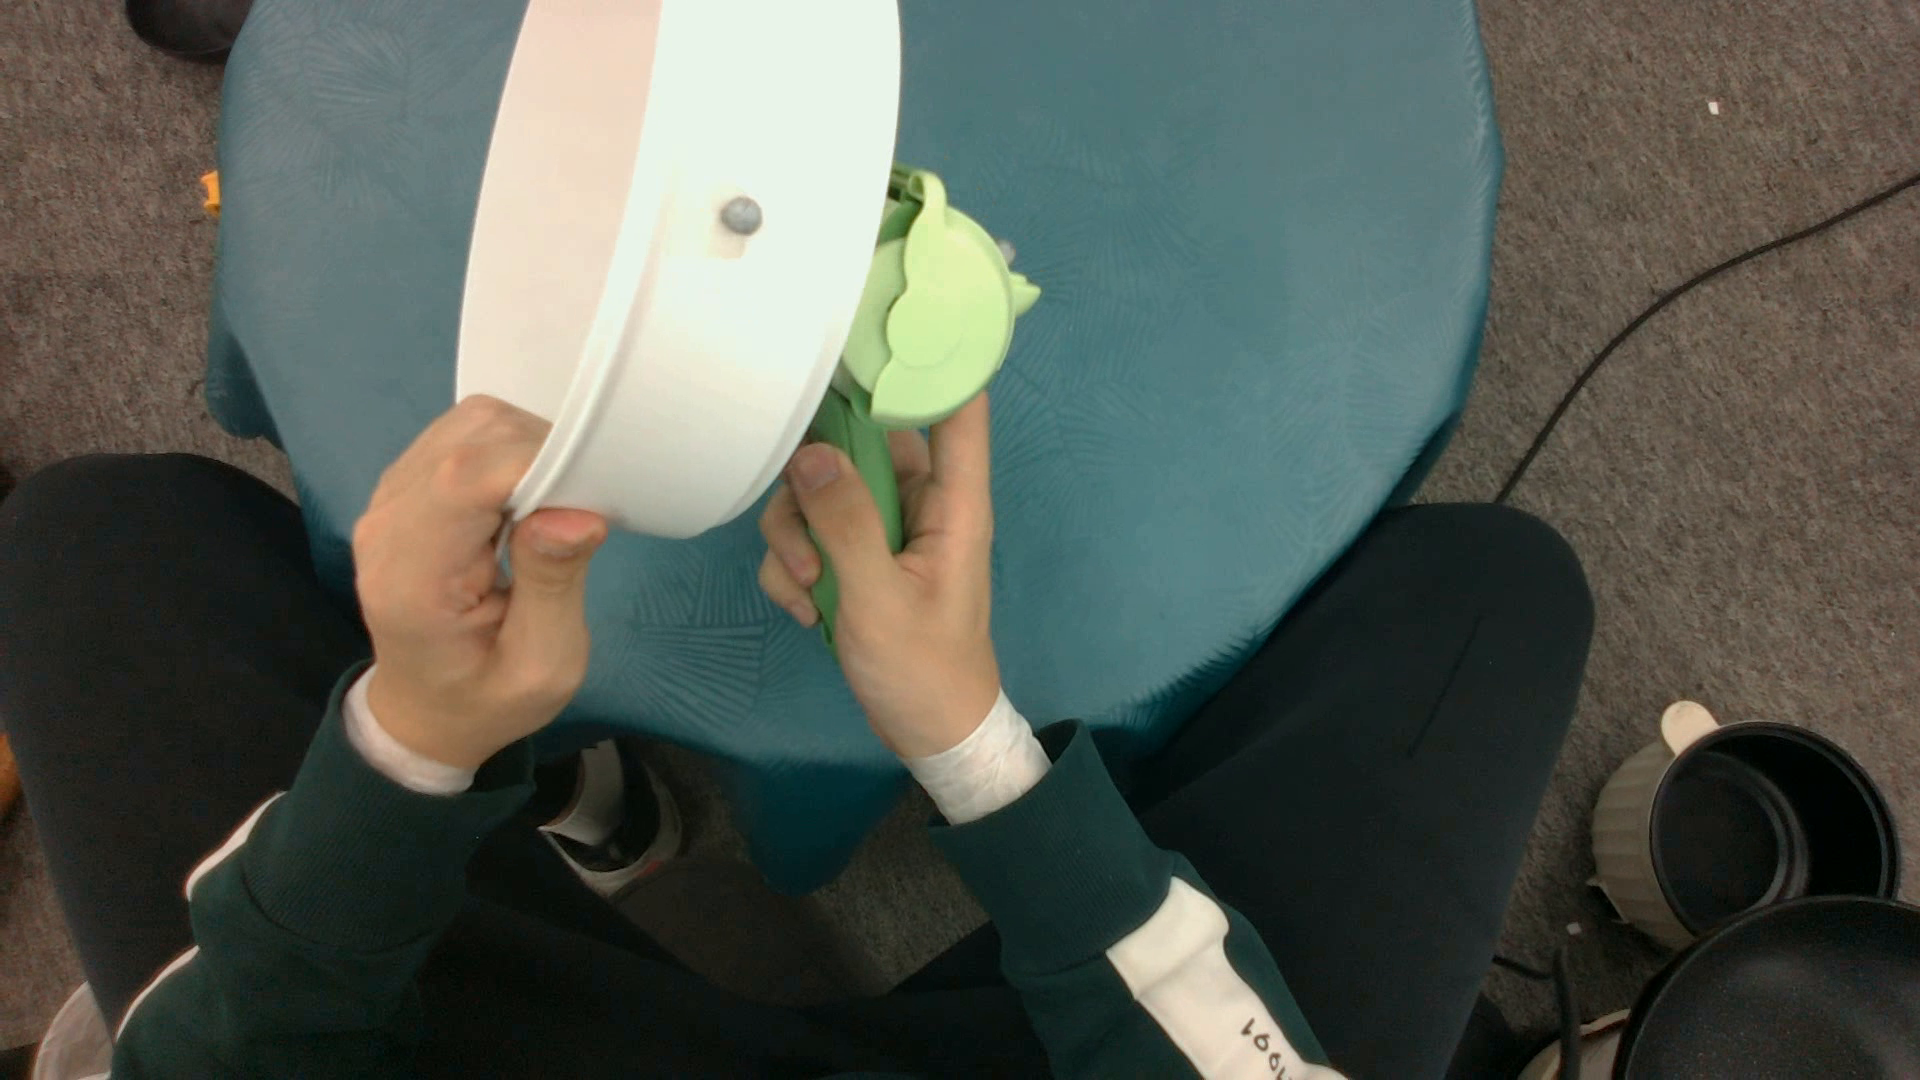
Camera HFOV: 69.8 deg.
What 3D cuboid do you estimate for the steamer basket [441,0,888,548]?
[{"bbox_3d":[-0.093,-0.106,0.407,0.069,0.202,0.230,11,101,-32],"label":"steamer basket"}]

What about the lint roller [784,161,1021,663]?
[{"bbox_3d":[-0.032,-0.047,0.477,0.082,0.199,0.183,-24,118,-16],"label":"lint roller"}]
